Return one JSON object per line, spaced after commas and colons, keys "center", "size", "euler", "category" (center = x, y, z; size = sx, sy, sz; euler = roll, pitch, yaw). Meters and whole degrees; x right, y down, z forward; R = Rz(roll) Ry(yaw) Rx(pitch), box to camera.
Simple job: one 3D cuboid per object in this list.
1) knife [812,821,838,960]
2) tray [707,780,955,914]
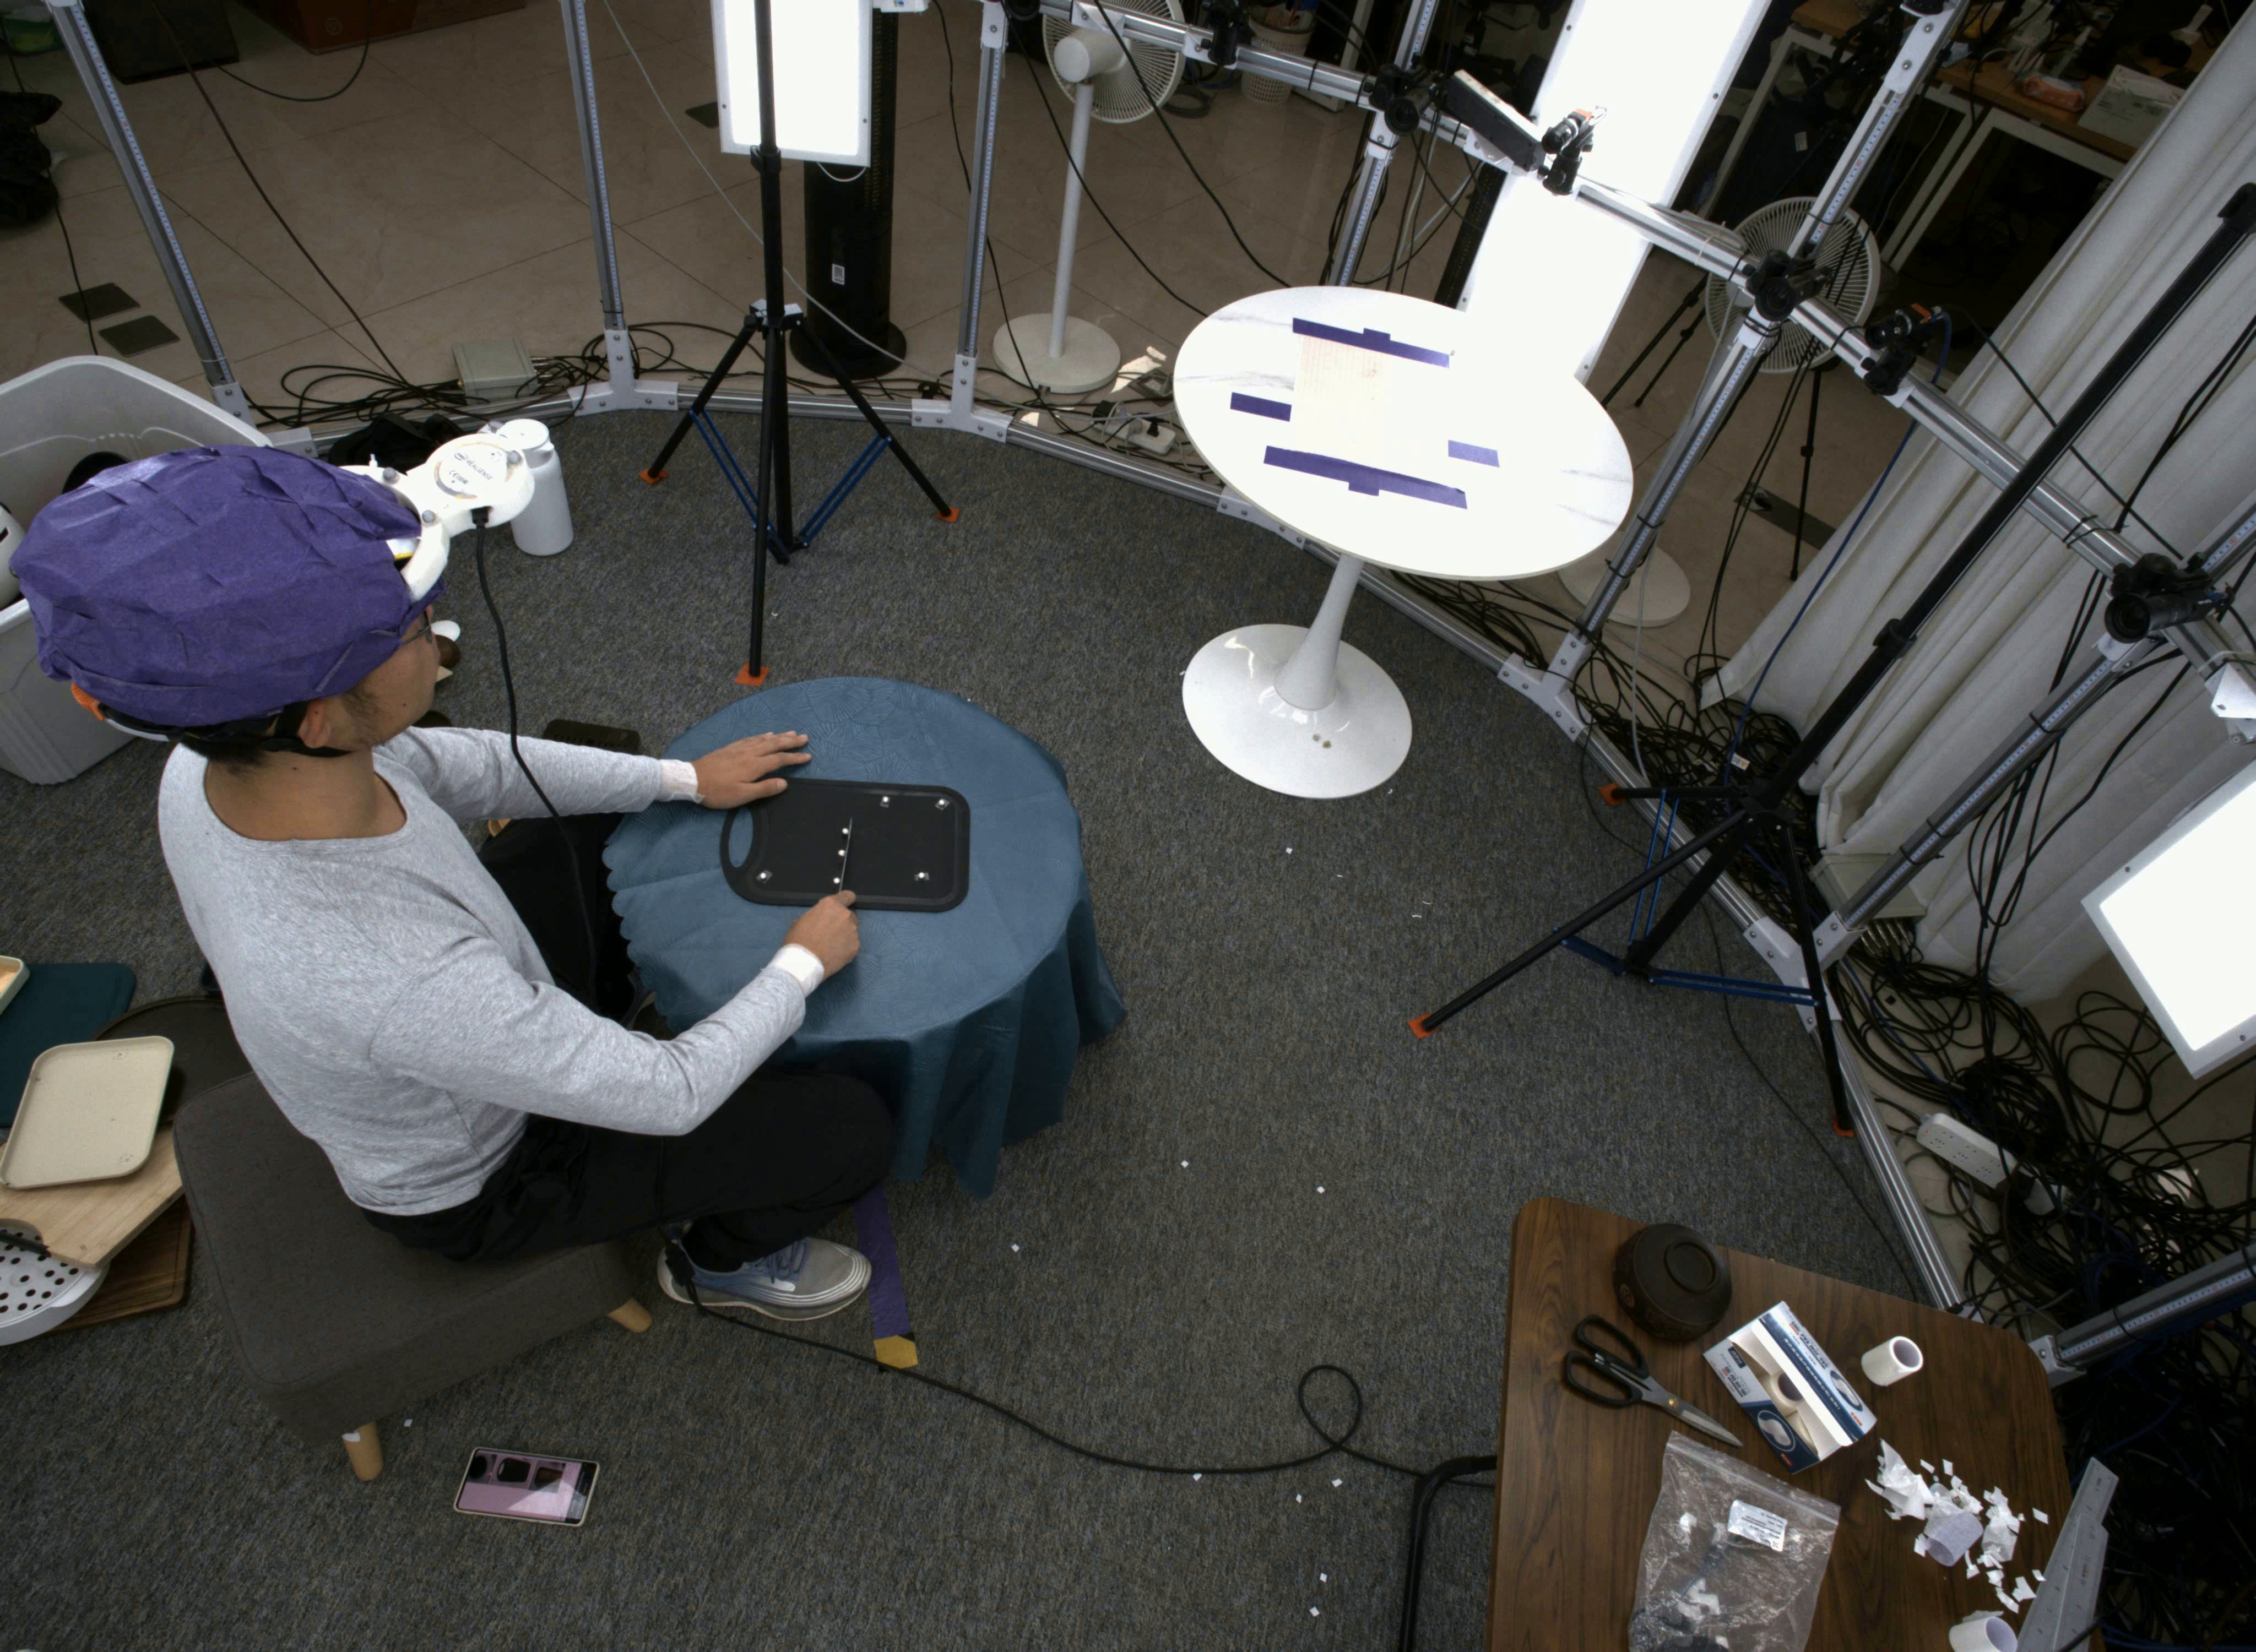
{"center": [-0.385, 0.073, 1.663], "size": [0.016, 0.025, 0.232], "euler": [16, 42, -20], "category": "knife"}
{"center": [-0.392, 0.023, 1.722], "size": [0.325, 0.010, 0.207], "euler": [3, 53, -12], "category": "tray"}
